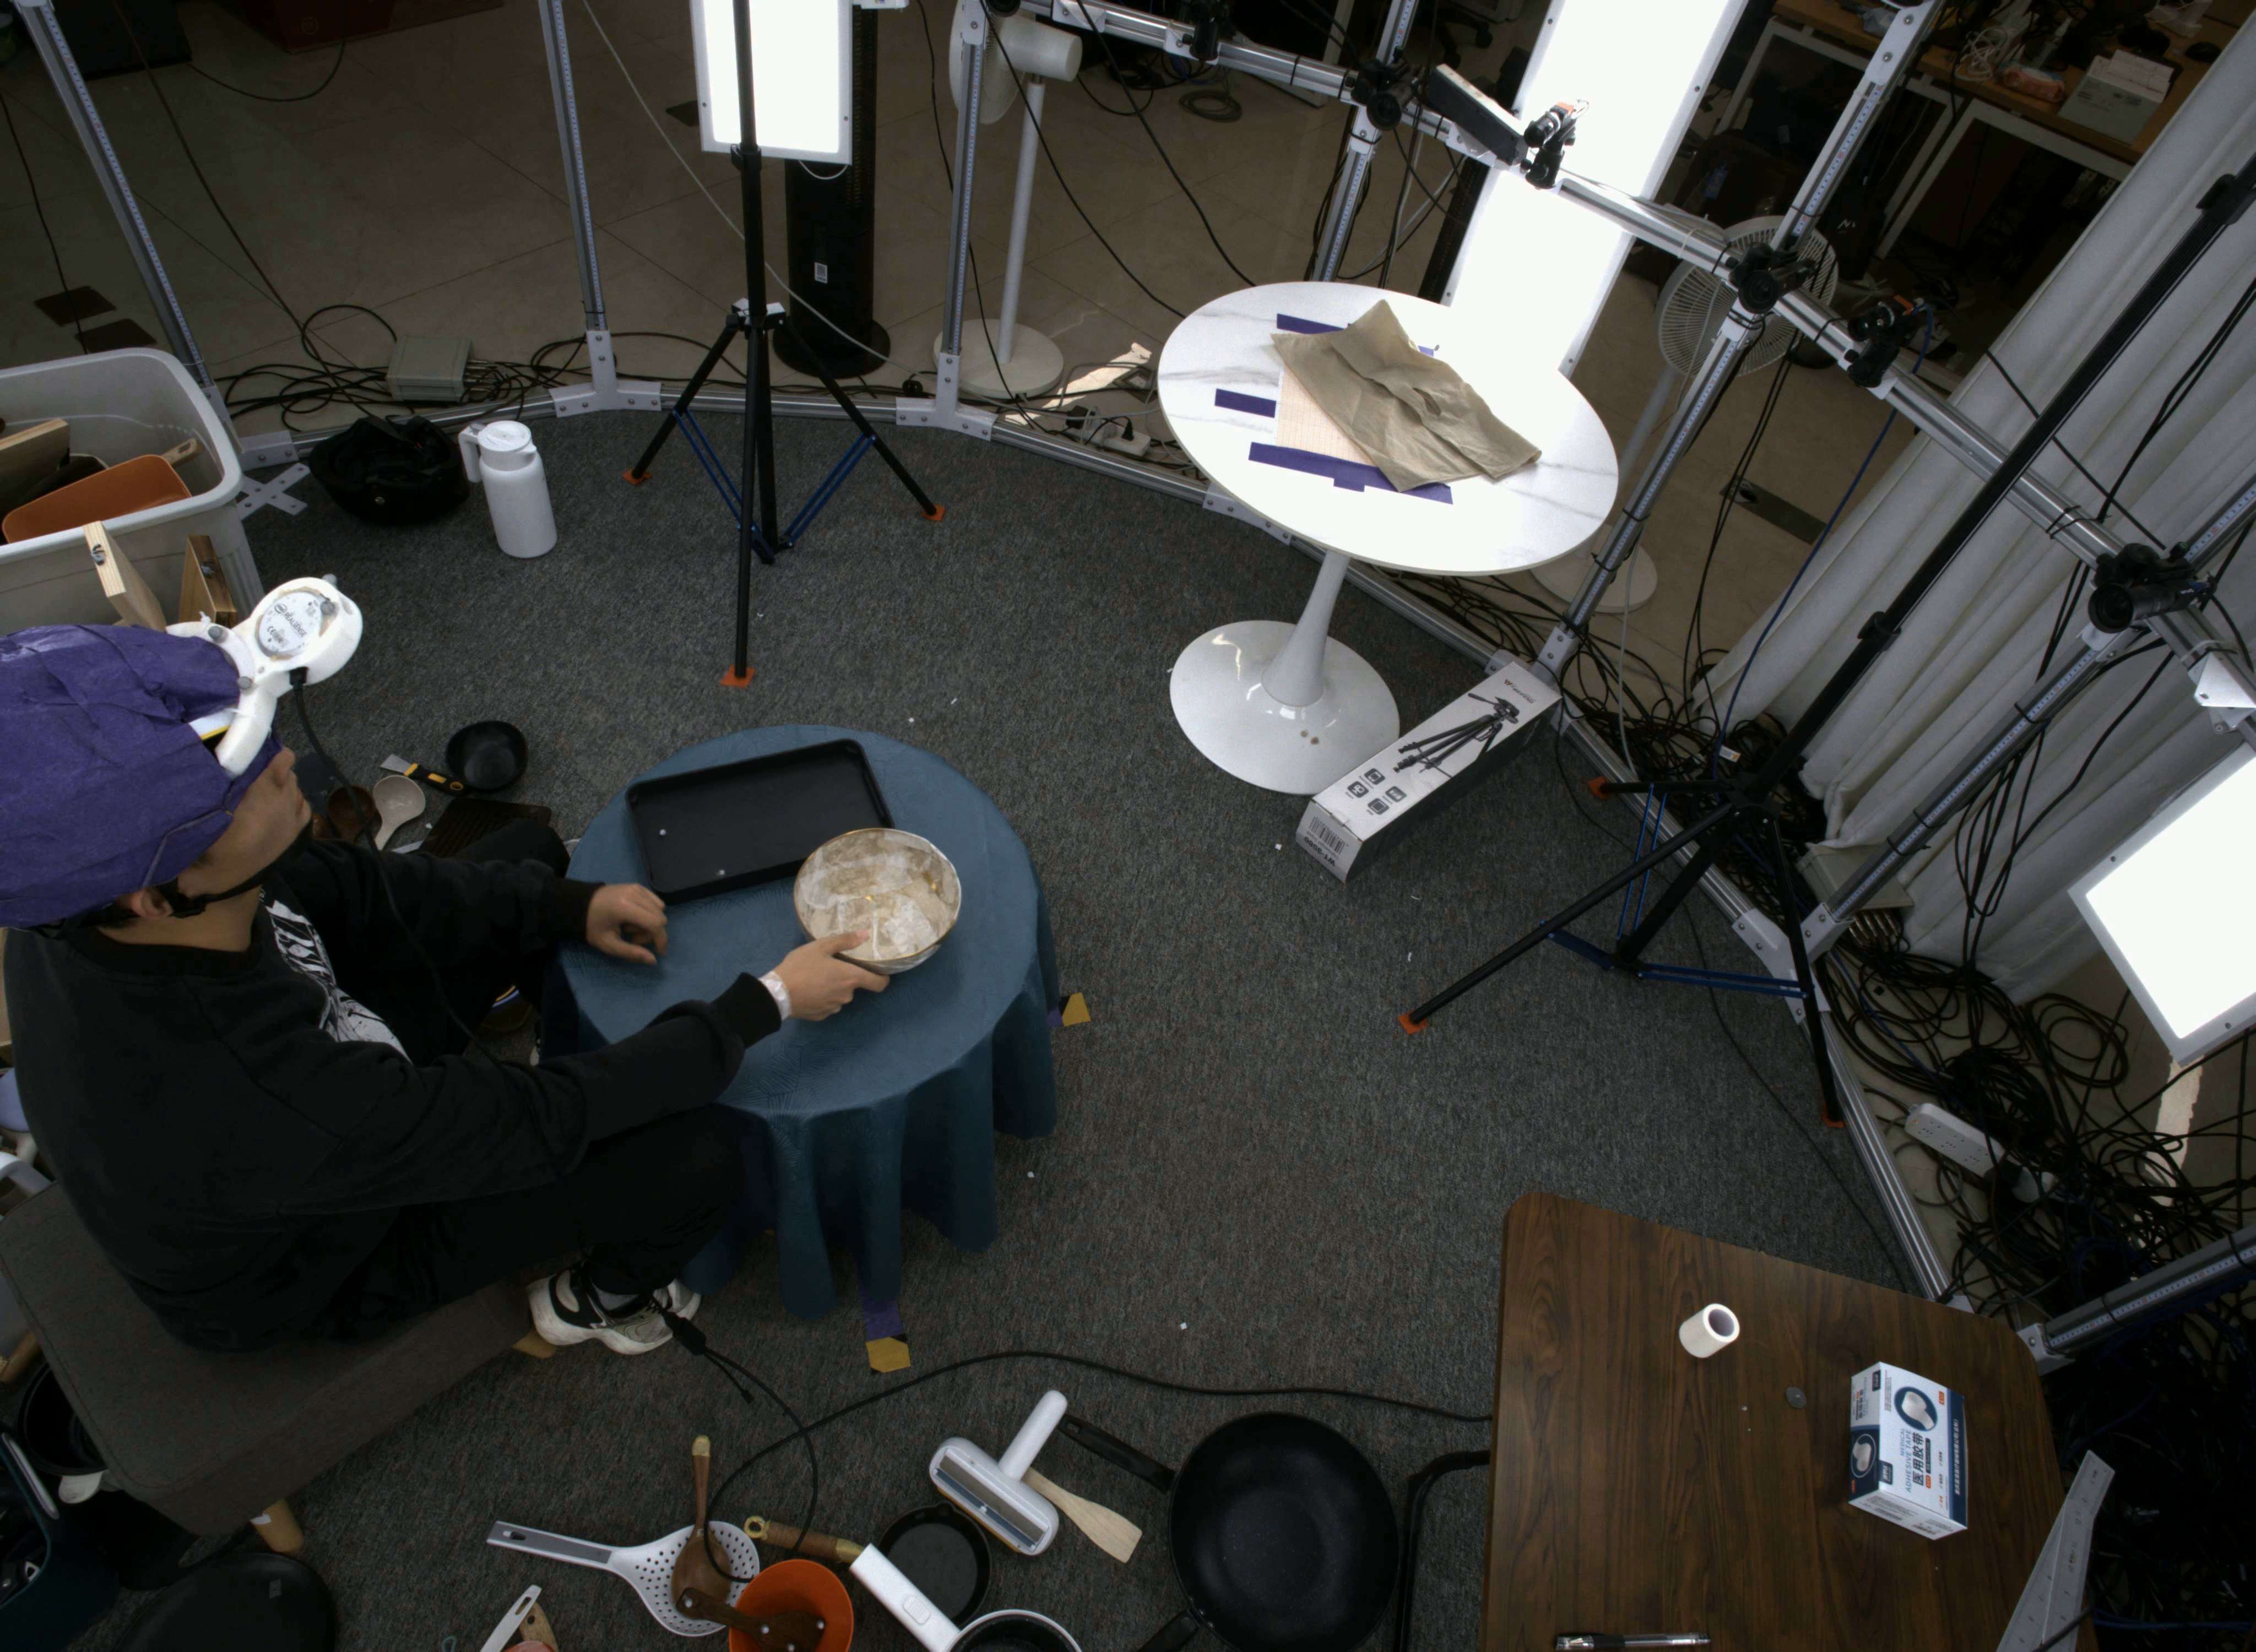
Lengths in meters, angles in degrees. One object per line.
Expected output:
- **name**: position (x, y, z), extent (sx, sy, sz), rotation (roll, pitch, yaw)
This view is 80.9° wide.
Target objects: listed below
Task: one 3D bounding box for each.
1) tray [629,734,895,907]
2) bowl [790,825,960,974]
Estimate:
- **tray**: position (-0.480, -0.013, 1.697), extent (0.319, 0.038, 0.180), rotation (-15, 60, -22)
- **bowl**: position (-0.316, 0.105, 1.619), extent (0.214, 0.096, 0.211), rotation (8, 52, -9)
